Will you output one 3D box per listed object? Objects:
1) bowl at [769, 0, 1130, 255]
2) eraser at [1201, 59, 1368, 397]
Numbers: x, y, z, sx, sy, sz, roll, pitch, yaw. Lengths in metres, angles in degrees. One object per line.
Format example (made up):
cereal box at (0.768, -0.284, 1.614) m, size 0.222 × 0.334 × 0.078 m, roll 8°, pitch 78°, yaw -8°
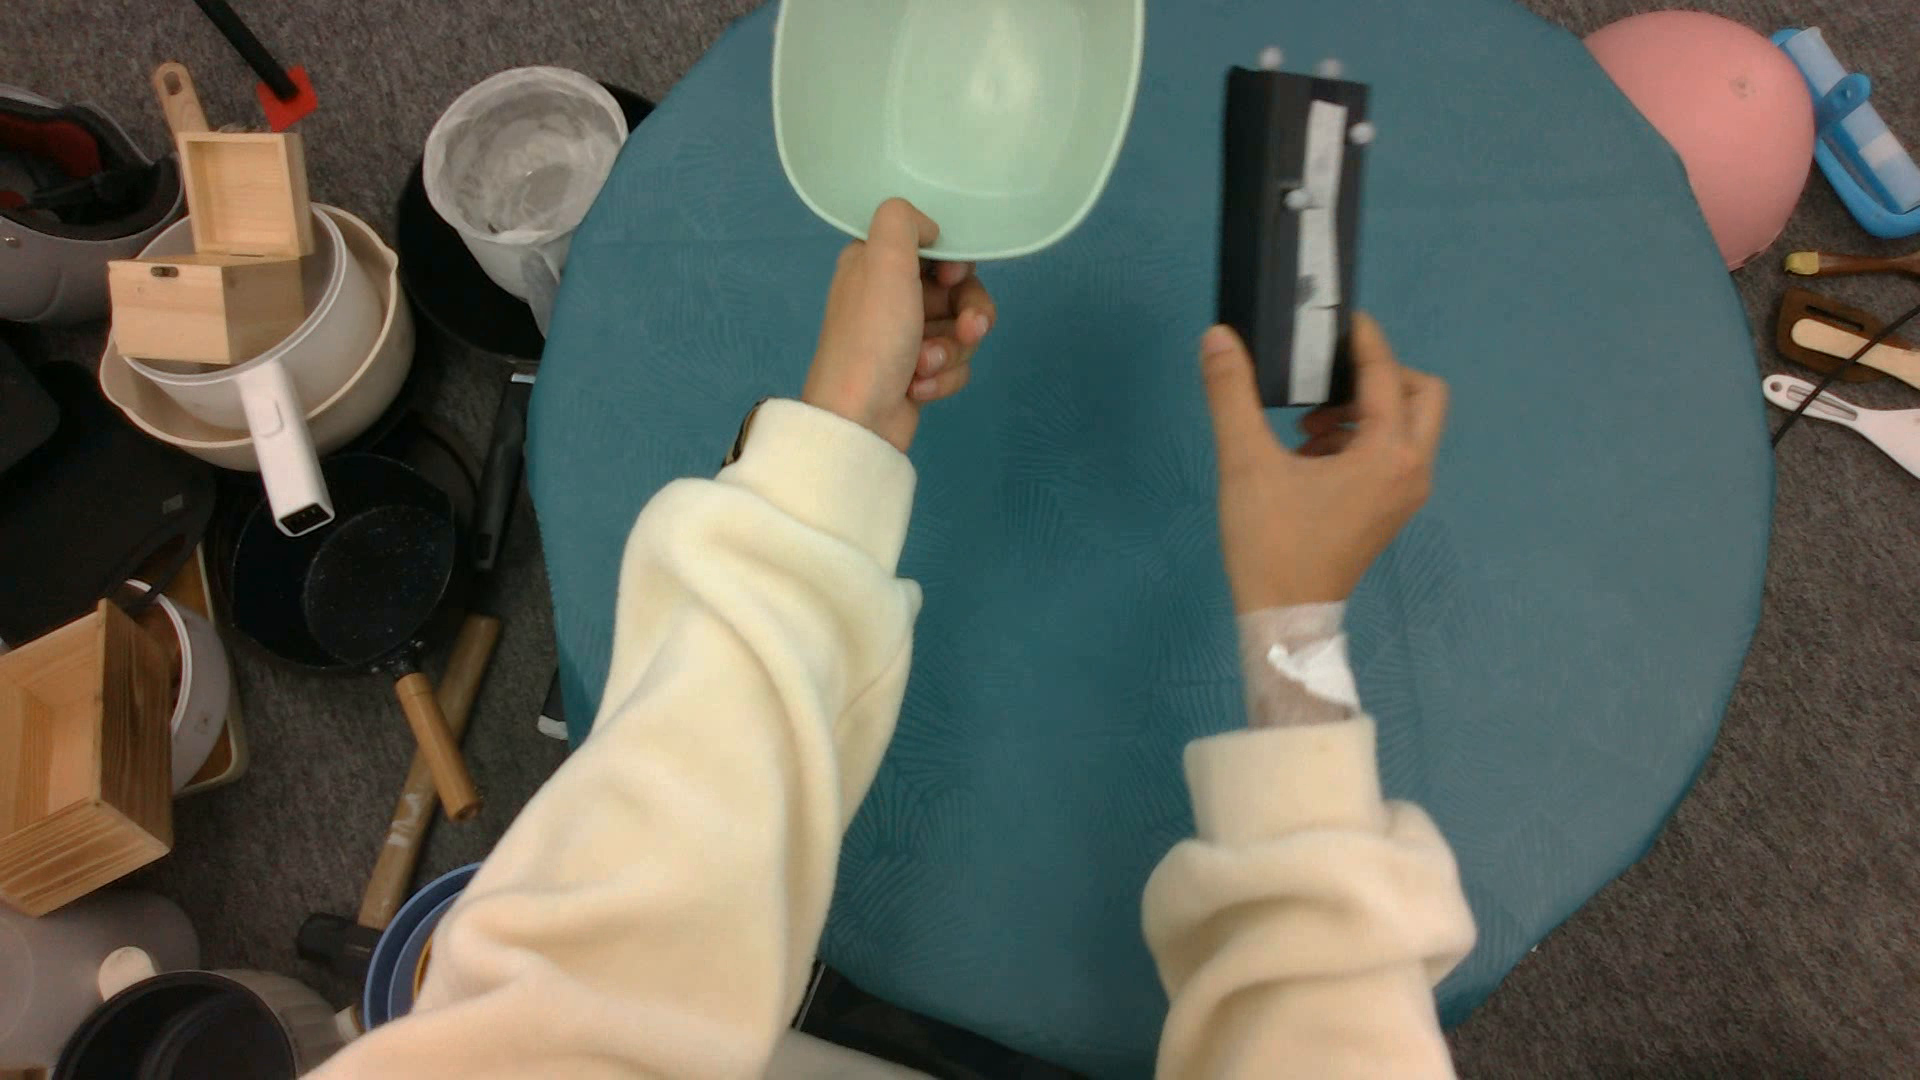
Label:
bowl at (0.001, -0.179, 0.539) m, size 0.151 × 0.059 × 0.151 m, roll 1°, pitch 94°, yaw 17°
eraser at (0.124, -0.120, 0.532) m, size 0.053 × 0.030 × 0.125 m, roll -6°, pitch 105°, yaw -29°
